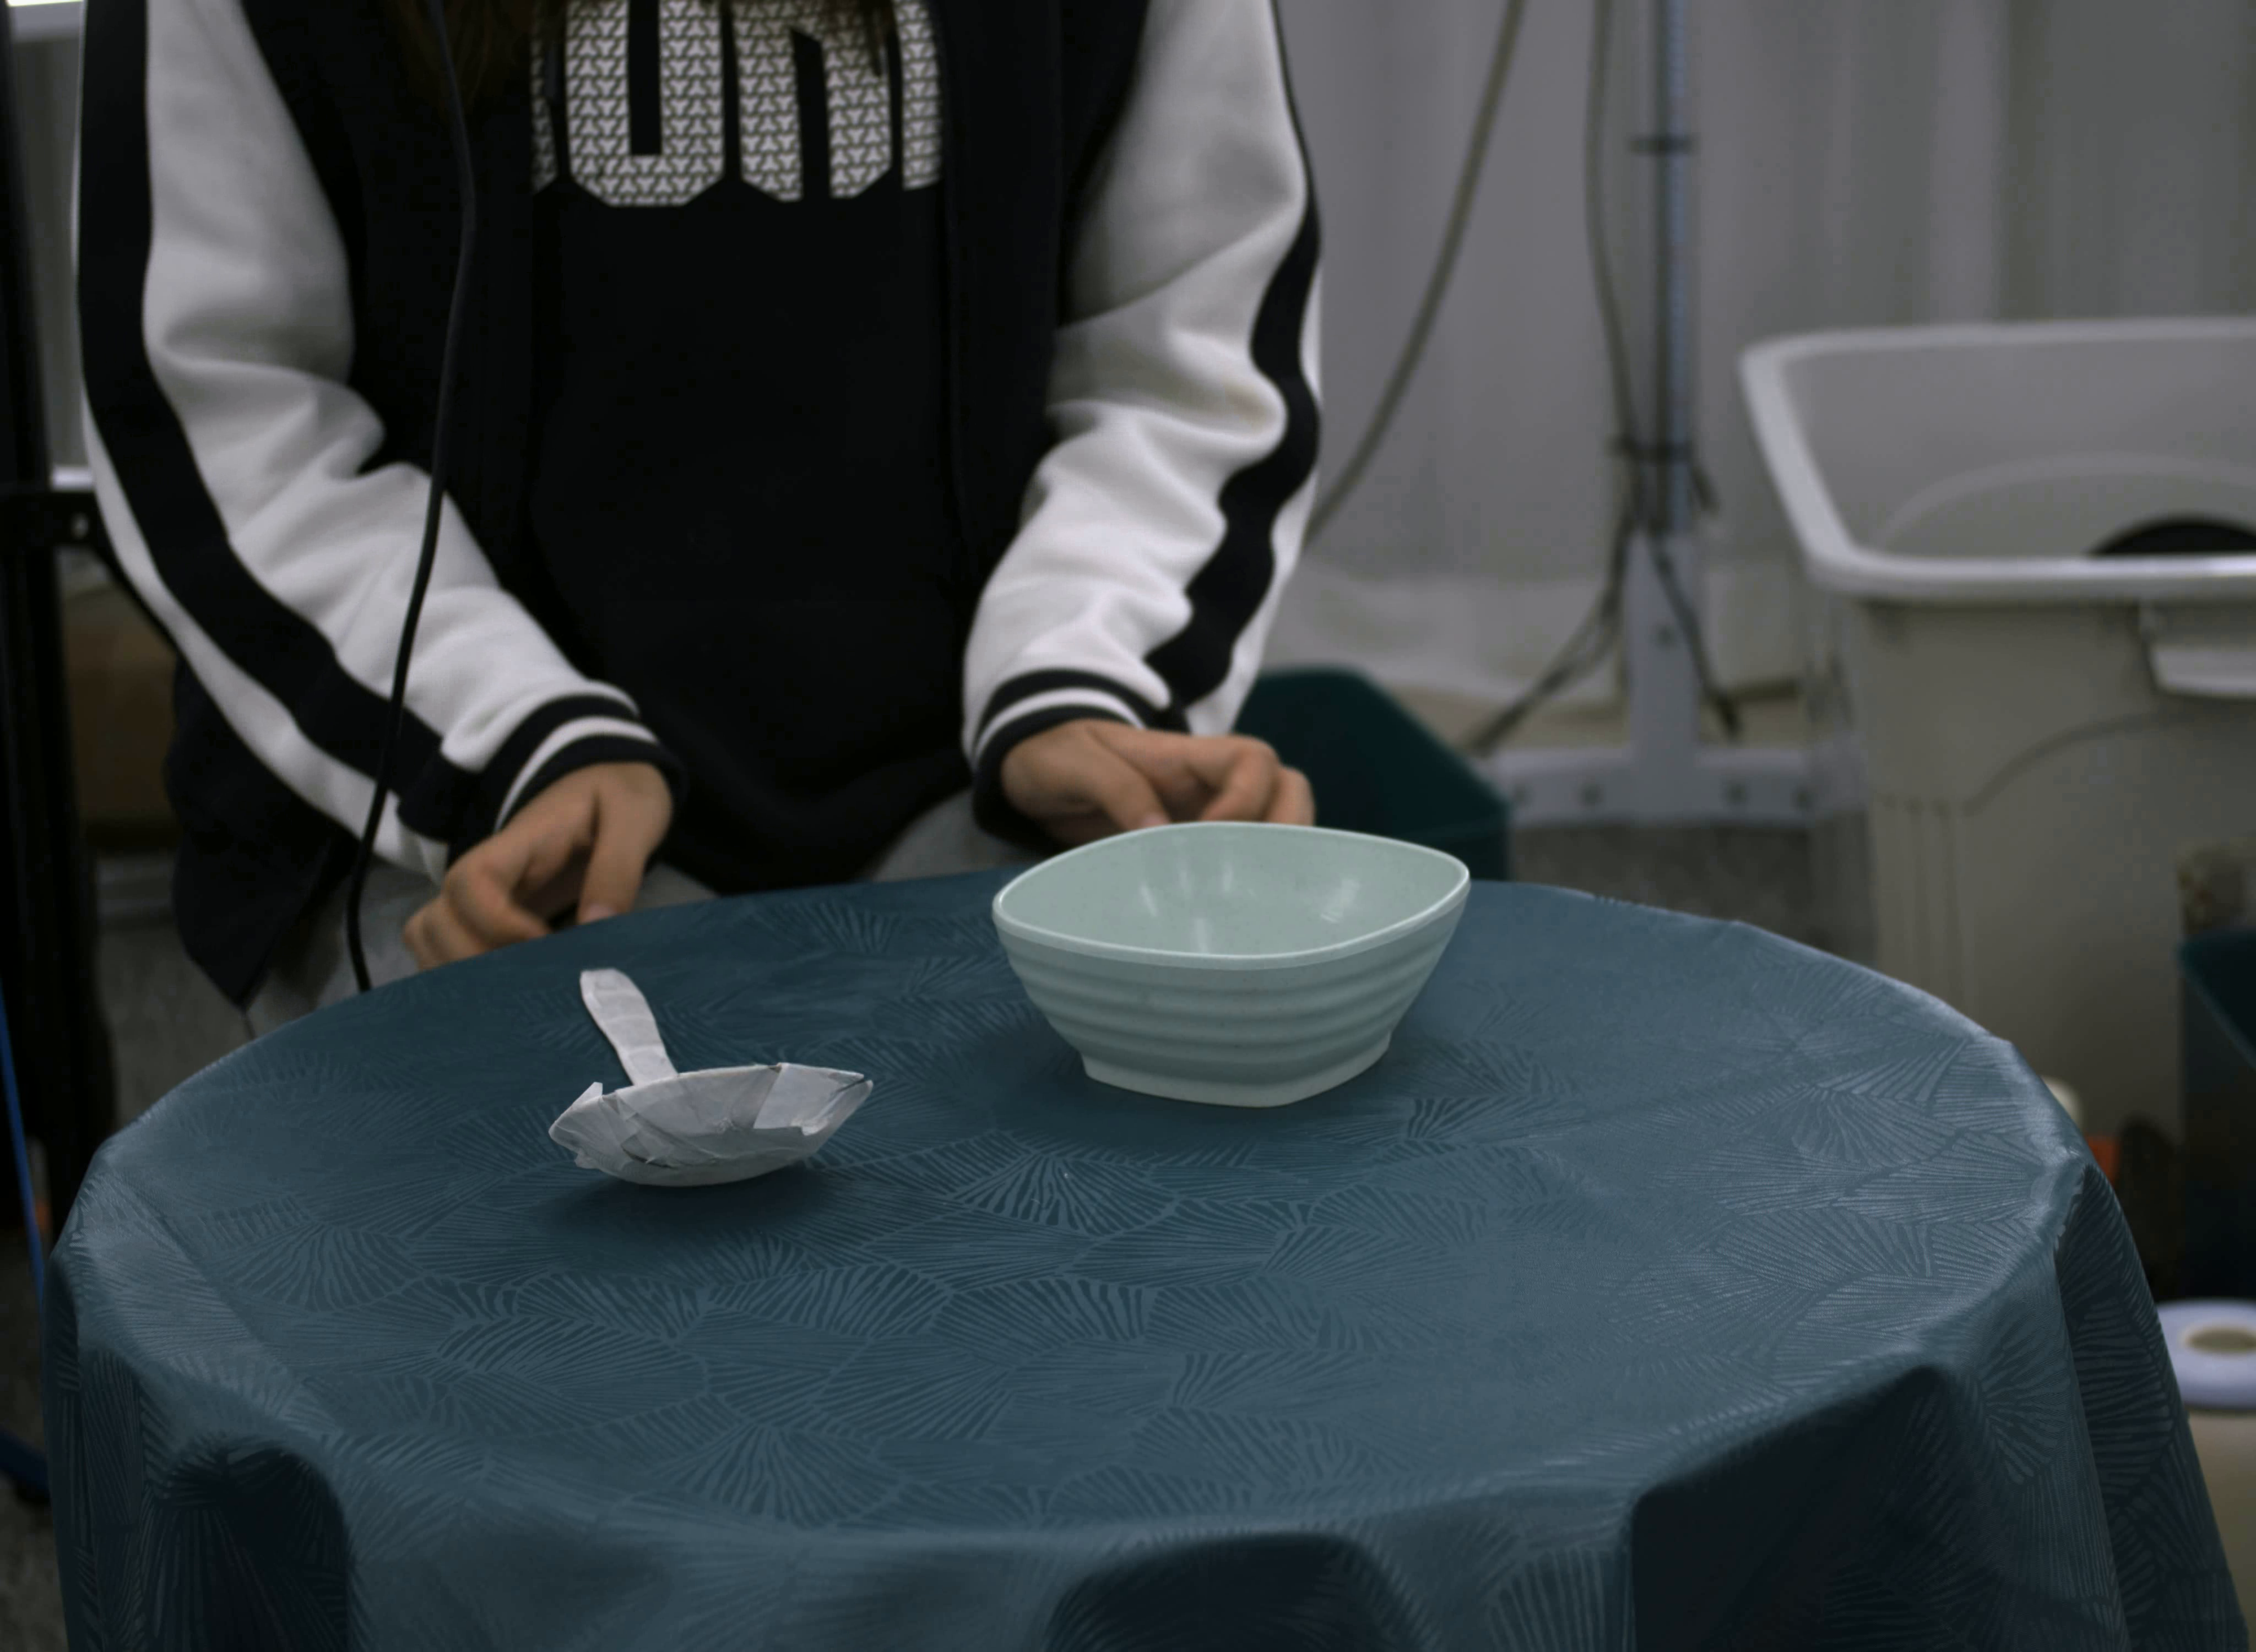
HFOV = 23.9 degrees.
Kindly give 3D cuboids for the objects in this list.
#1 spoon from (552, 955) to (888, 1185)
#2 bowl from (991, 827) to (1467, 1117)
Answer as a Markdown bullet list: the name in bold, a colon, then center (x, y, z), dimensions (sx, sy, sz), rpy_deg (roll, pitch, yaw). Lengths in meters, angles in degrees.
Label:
- **spoon**: center (-0.136, 0.057, 1.654), dimensions (0.099, 0.059, 0.280), rpy_deg (-1, 15, -10)
- **bowl**: center (0.033, 0.049, 1.665), dimensions (0.150, 0.058, 0.152), rpy_deg (-2, 16, -1)
